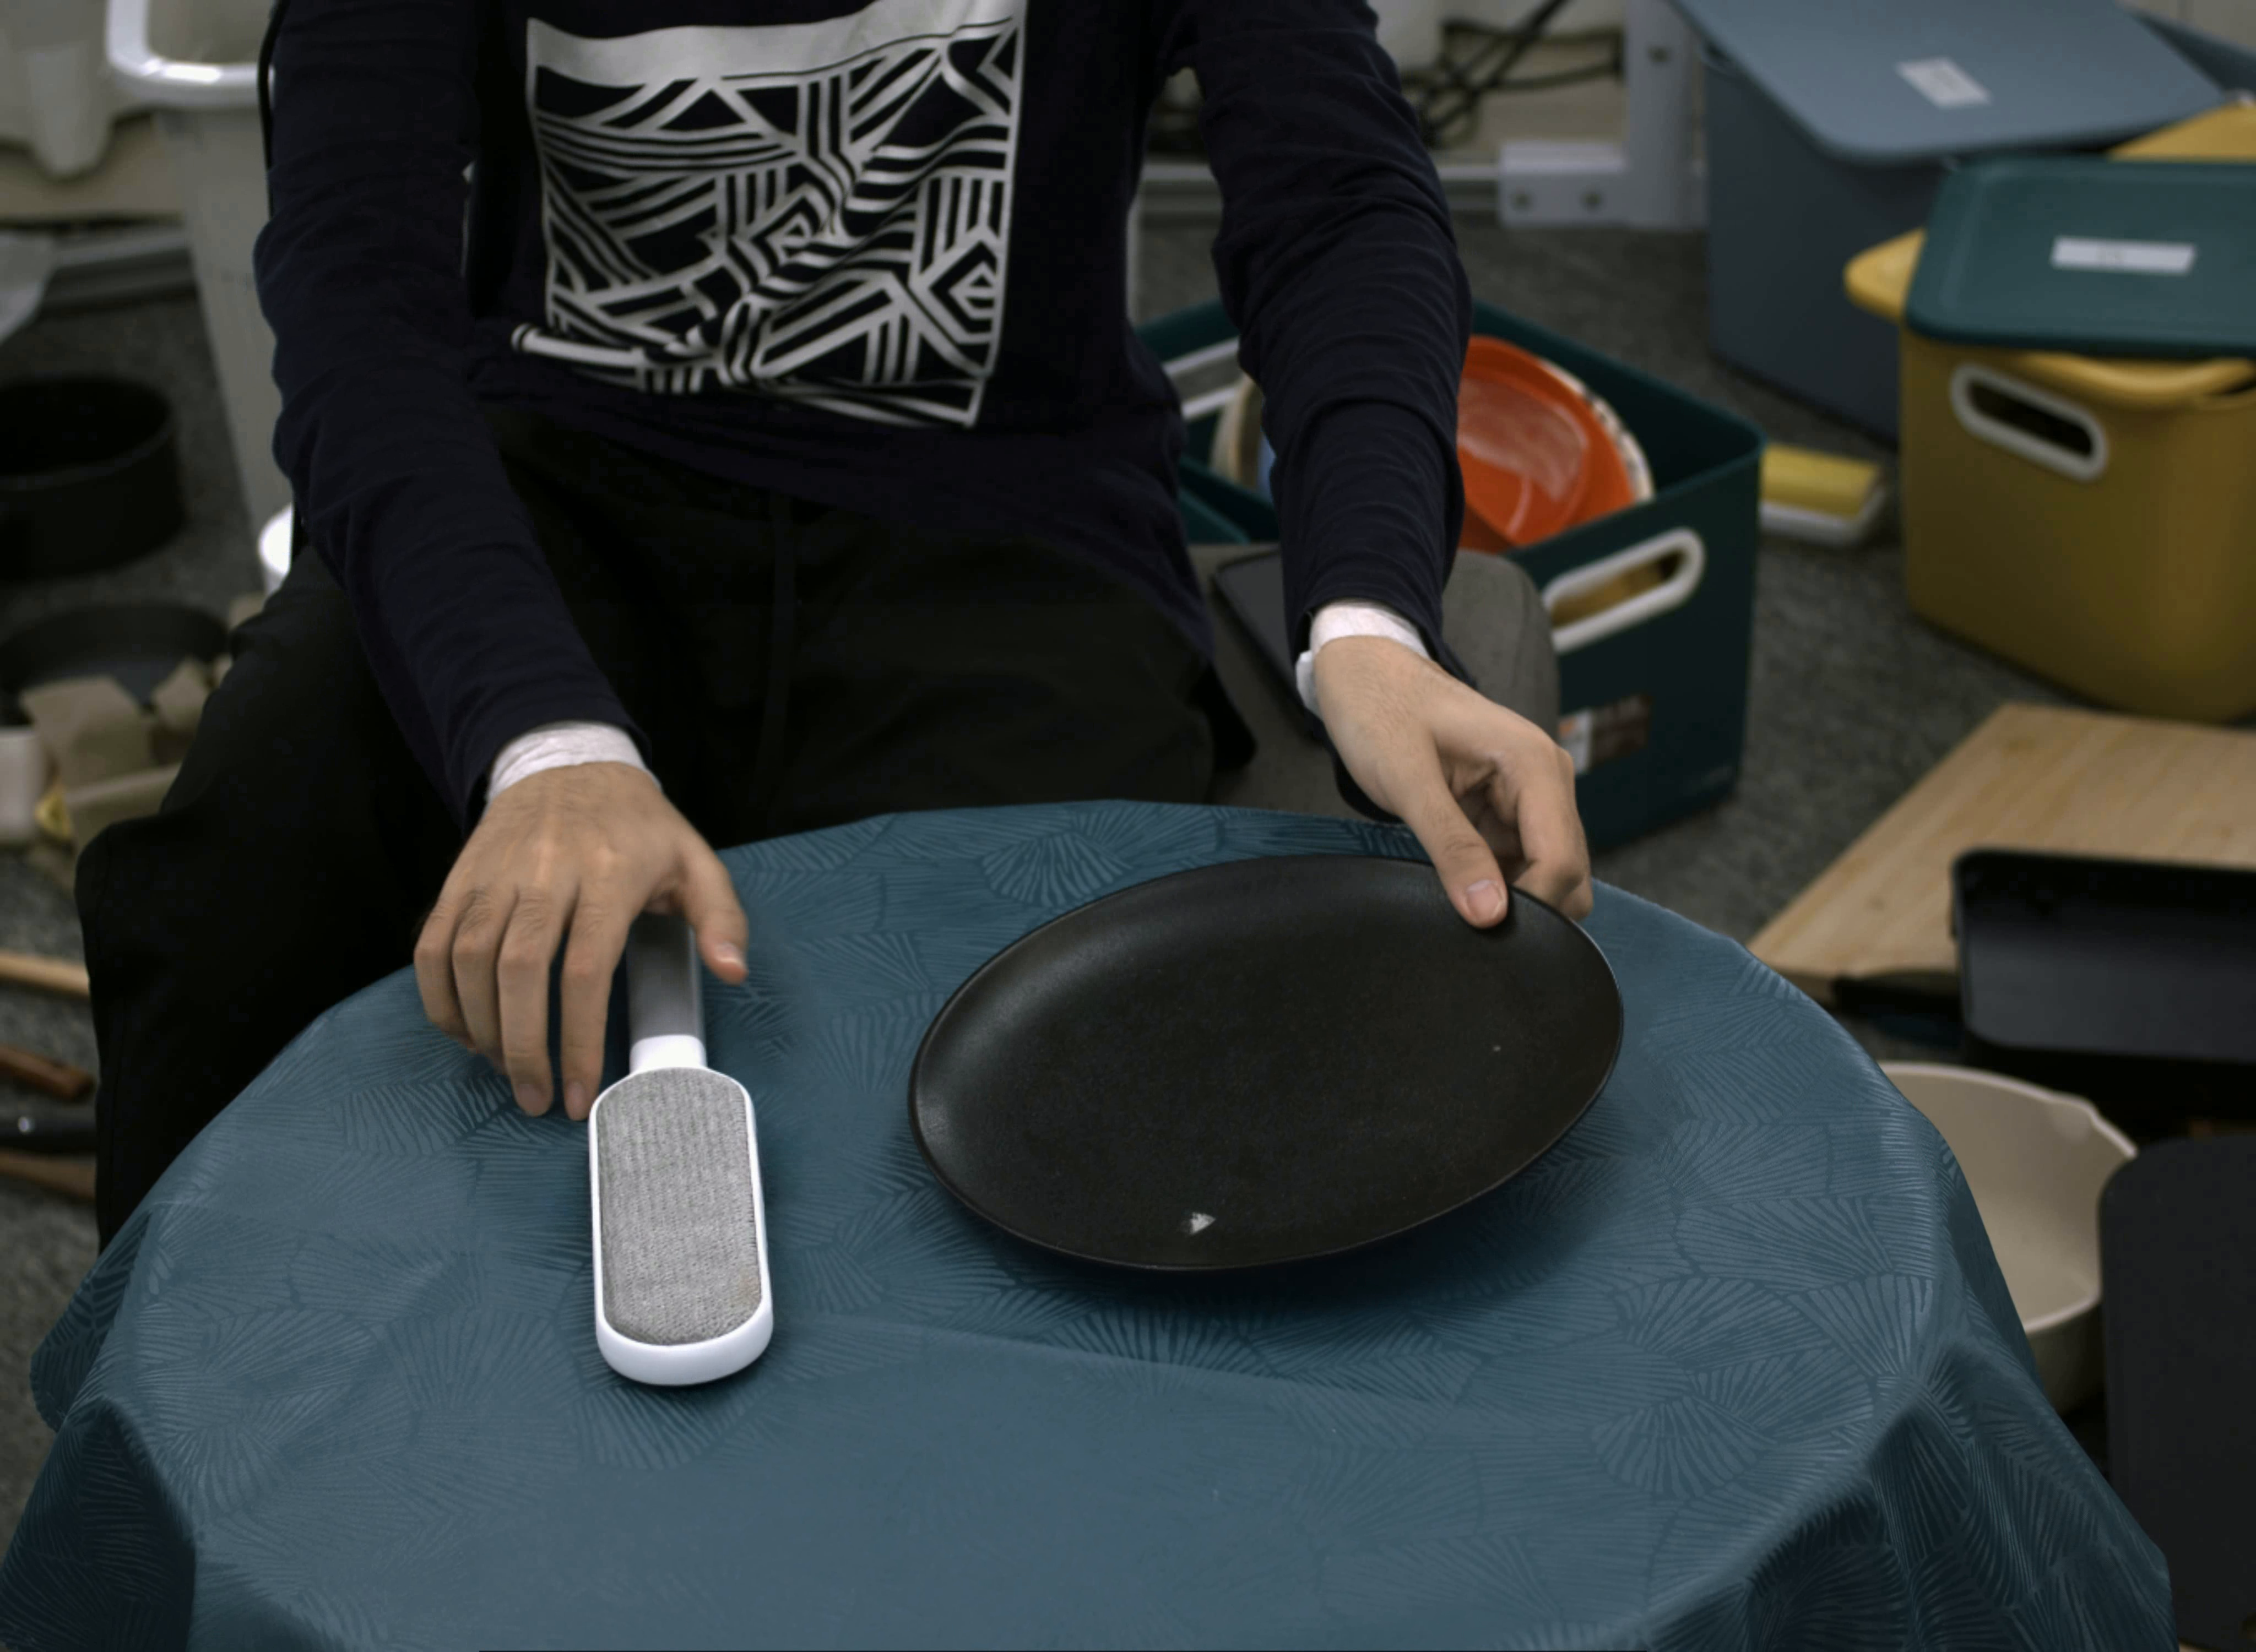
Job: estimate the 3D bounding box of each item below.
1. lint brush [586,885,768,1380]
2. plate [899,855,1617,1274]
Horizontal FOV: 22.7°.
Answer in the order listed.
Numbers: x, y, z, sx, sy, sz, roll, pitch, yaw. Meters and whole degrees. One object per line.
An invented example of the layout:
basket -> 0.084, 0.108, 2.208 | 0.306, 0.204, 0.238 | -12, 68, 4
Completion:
lint brush -> -0.153, 0.098, 1.892 | 0.060, 0.021, 0.313 | -9, 27, -1
plate -> 0.044, 0.083, 1.886 | 0.243, 0.023, 0.248 | -6, 31, 4
